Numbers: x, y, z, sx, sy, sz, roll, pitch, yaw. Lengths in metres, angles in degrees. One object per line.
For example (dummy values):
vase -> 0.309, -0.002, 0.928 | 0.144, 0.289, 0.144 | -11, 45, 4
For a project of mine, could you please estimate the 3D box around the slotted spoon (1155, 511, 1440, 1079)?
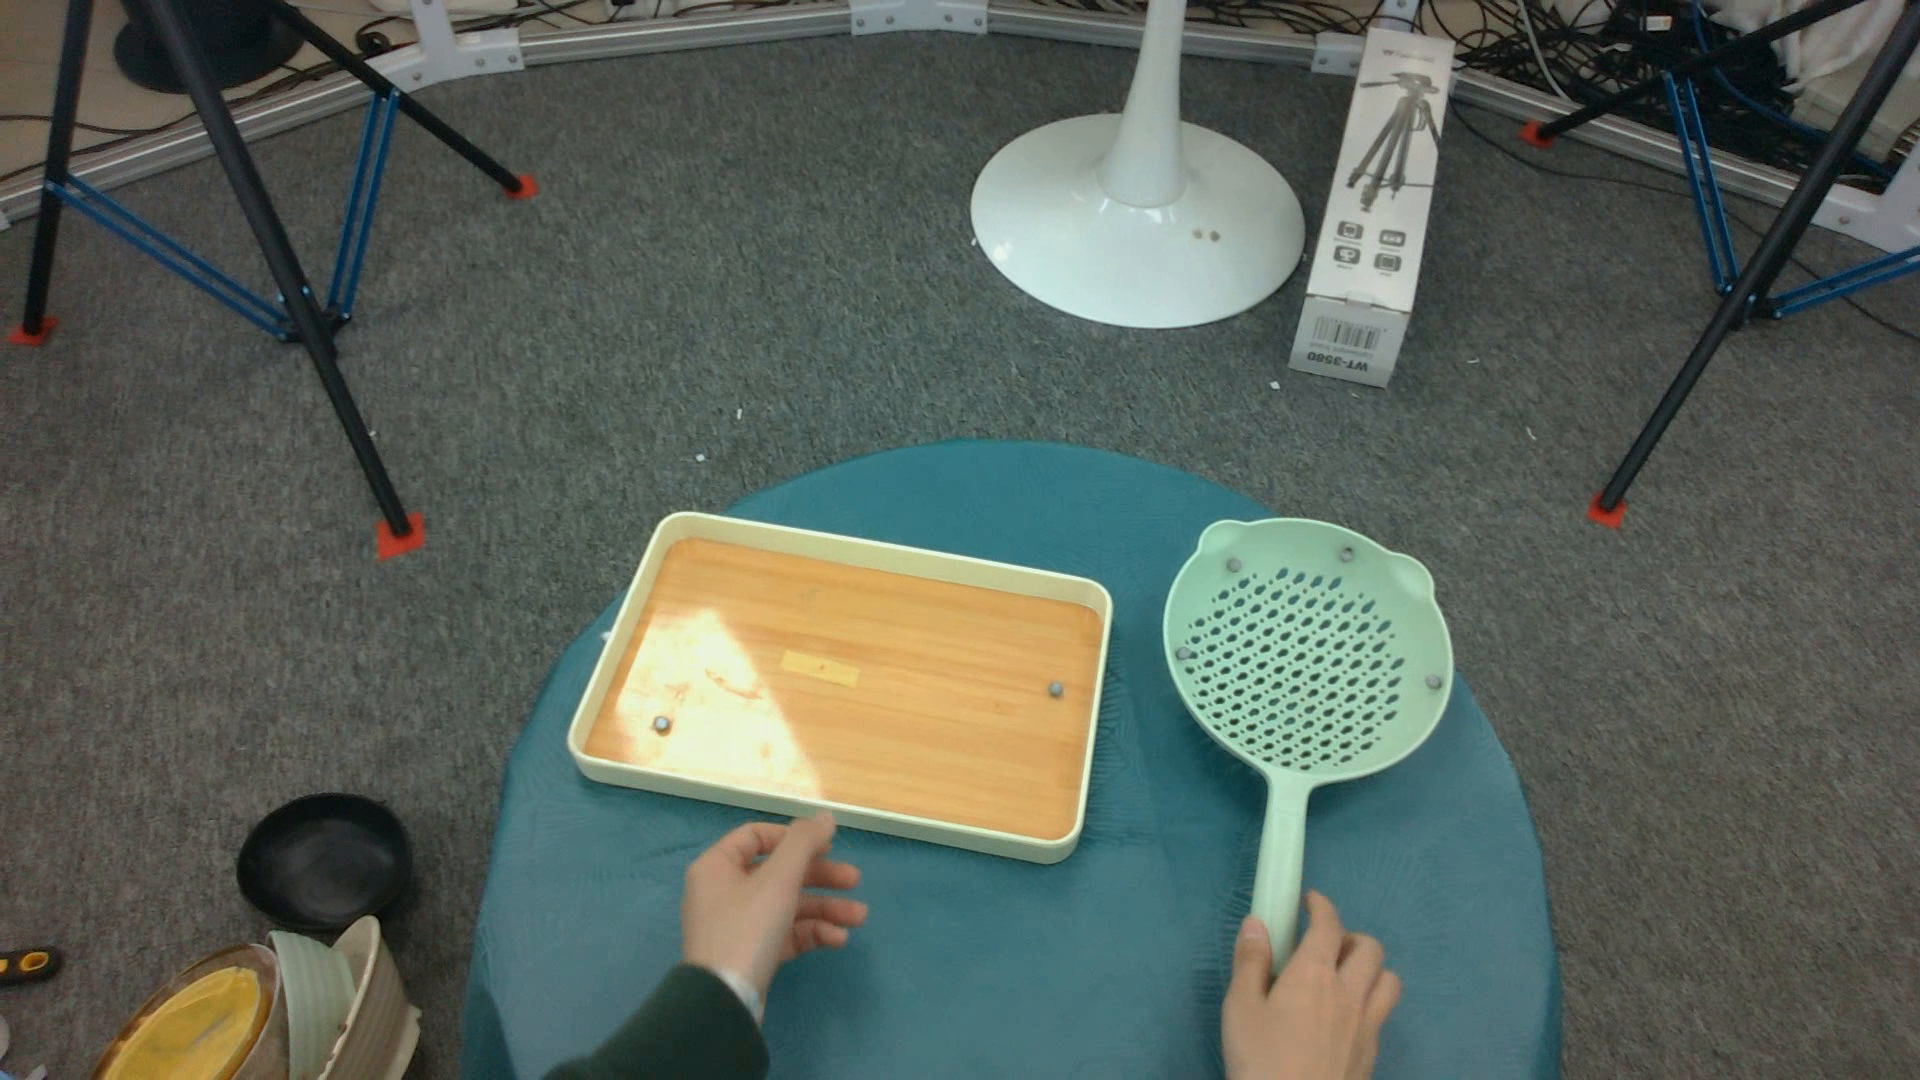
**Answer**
slotted spoon -> 0.176, 0.142, 0.775 | 0.169, 0.075, 0.360 | 12, 51, 6

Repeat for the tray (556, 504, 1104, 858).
tray -> -0.071, 0.078, 0.836 | 0.300, 0.027, 0.192 | 10, 51, 5
